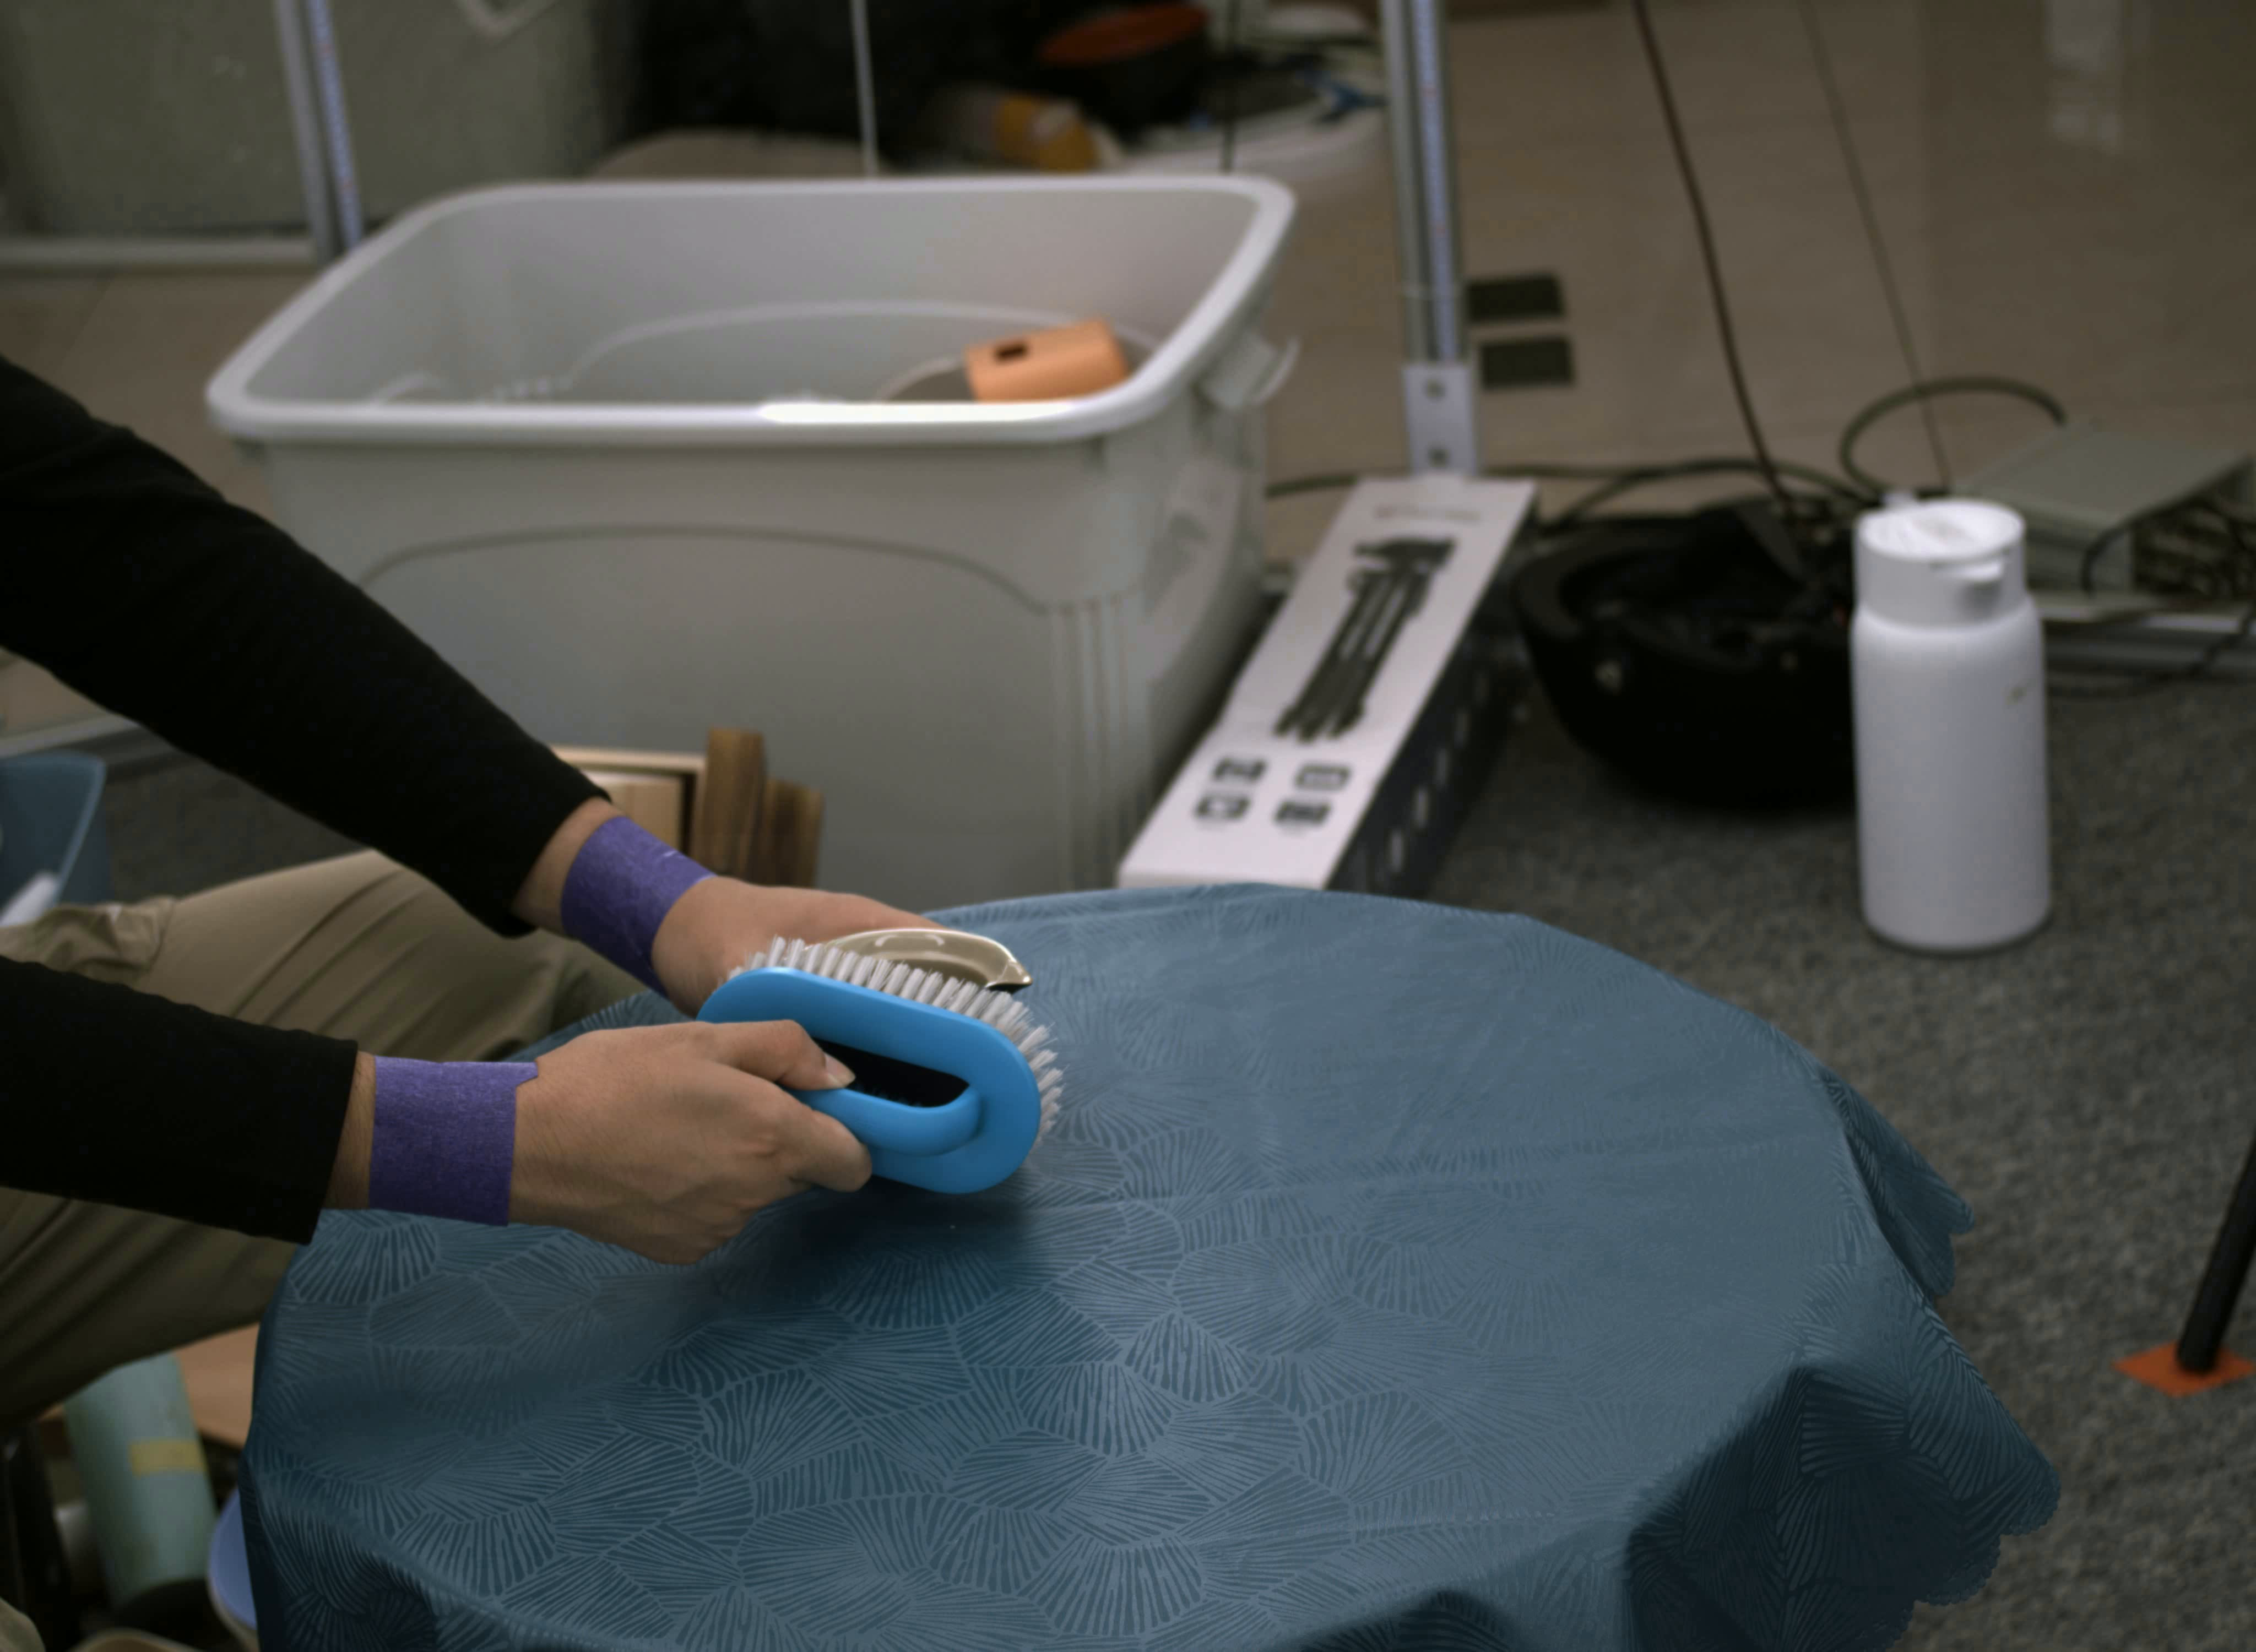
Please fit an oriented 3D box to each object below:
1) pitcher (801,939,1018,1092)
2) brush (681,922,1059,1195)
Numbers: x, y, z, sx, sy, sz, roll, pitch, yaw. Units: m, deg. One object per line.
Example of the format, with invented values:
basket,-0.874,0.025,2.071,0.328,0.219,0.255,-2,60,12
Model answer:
pitcher,-0.087,0.085,2.187,0.095,0.072,0.083,6,19,19
brush,-0.101,0.094,2.112,0.141,0.086,0.063,16,29,10
